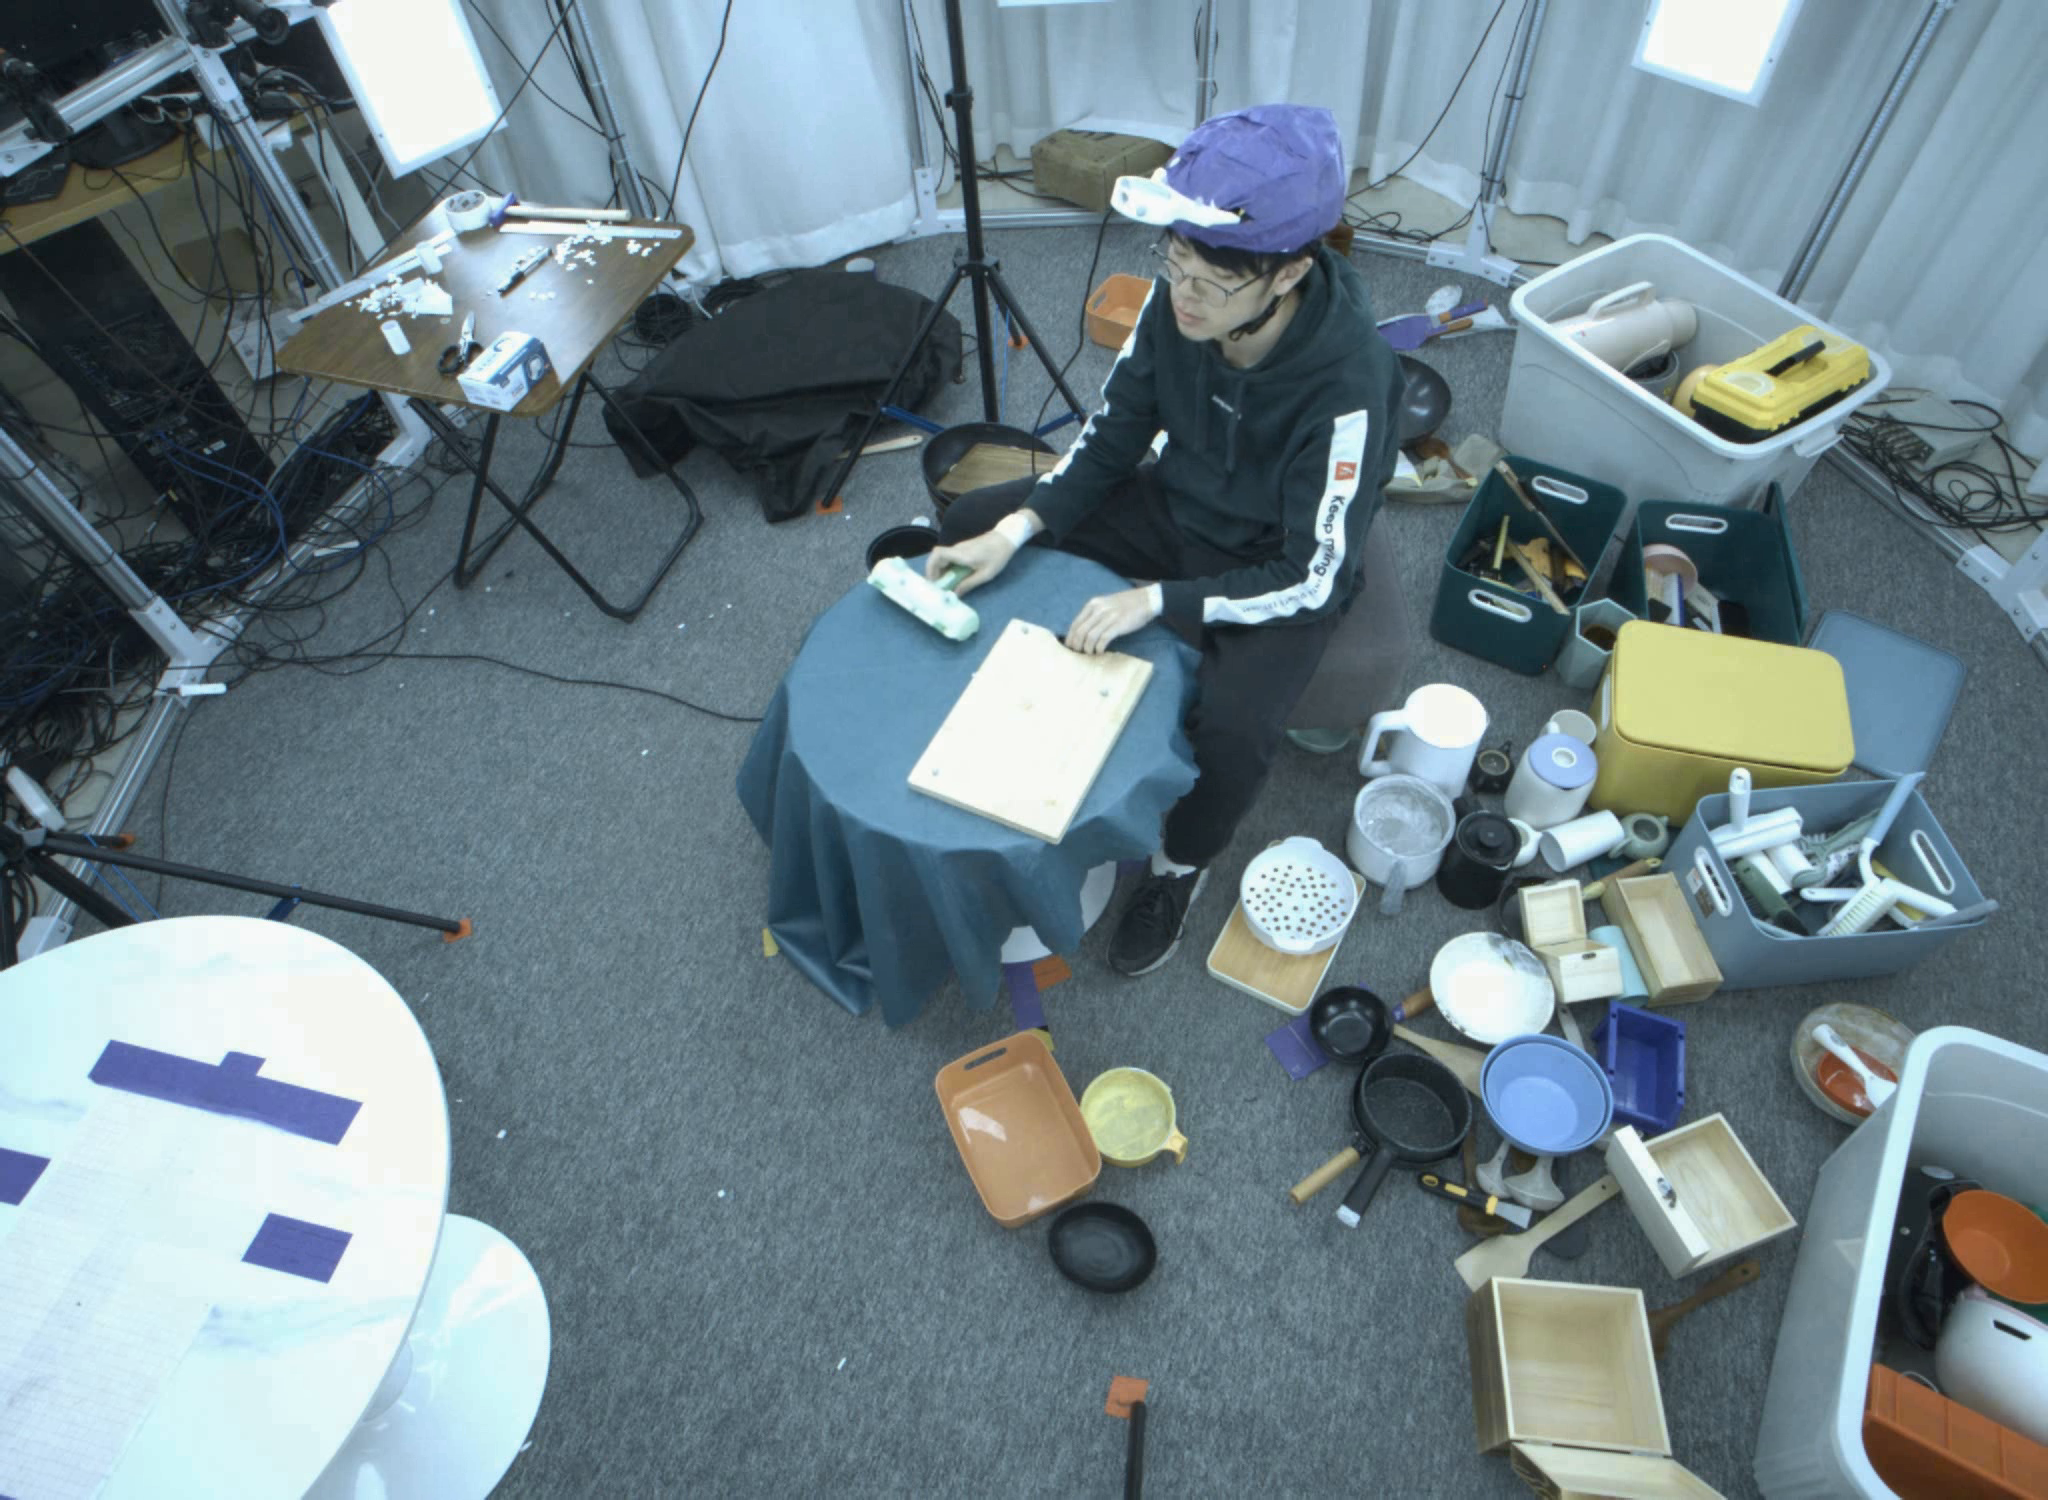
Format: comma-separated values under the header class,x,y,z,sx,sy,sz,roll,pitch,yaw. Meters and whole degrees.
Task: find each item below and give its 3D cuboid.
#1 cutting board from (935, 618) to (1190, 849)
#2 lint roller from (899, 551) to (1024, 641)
class,x,y,z,sx,sy,sz,roll,pitch,yaw
cutting board,0.059,-0.035,1.796,0.247,0.024,0.349,22,58,16
lint roller,-0.071,-0.277,1.934,0.195,0.083,0.184,38,68,25
